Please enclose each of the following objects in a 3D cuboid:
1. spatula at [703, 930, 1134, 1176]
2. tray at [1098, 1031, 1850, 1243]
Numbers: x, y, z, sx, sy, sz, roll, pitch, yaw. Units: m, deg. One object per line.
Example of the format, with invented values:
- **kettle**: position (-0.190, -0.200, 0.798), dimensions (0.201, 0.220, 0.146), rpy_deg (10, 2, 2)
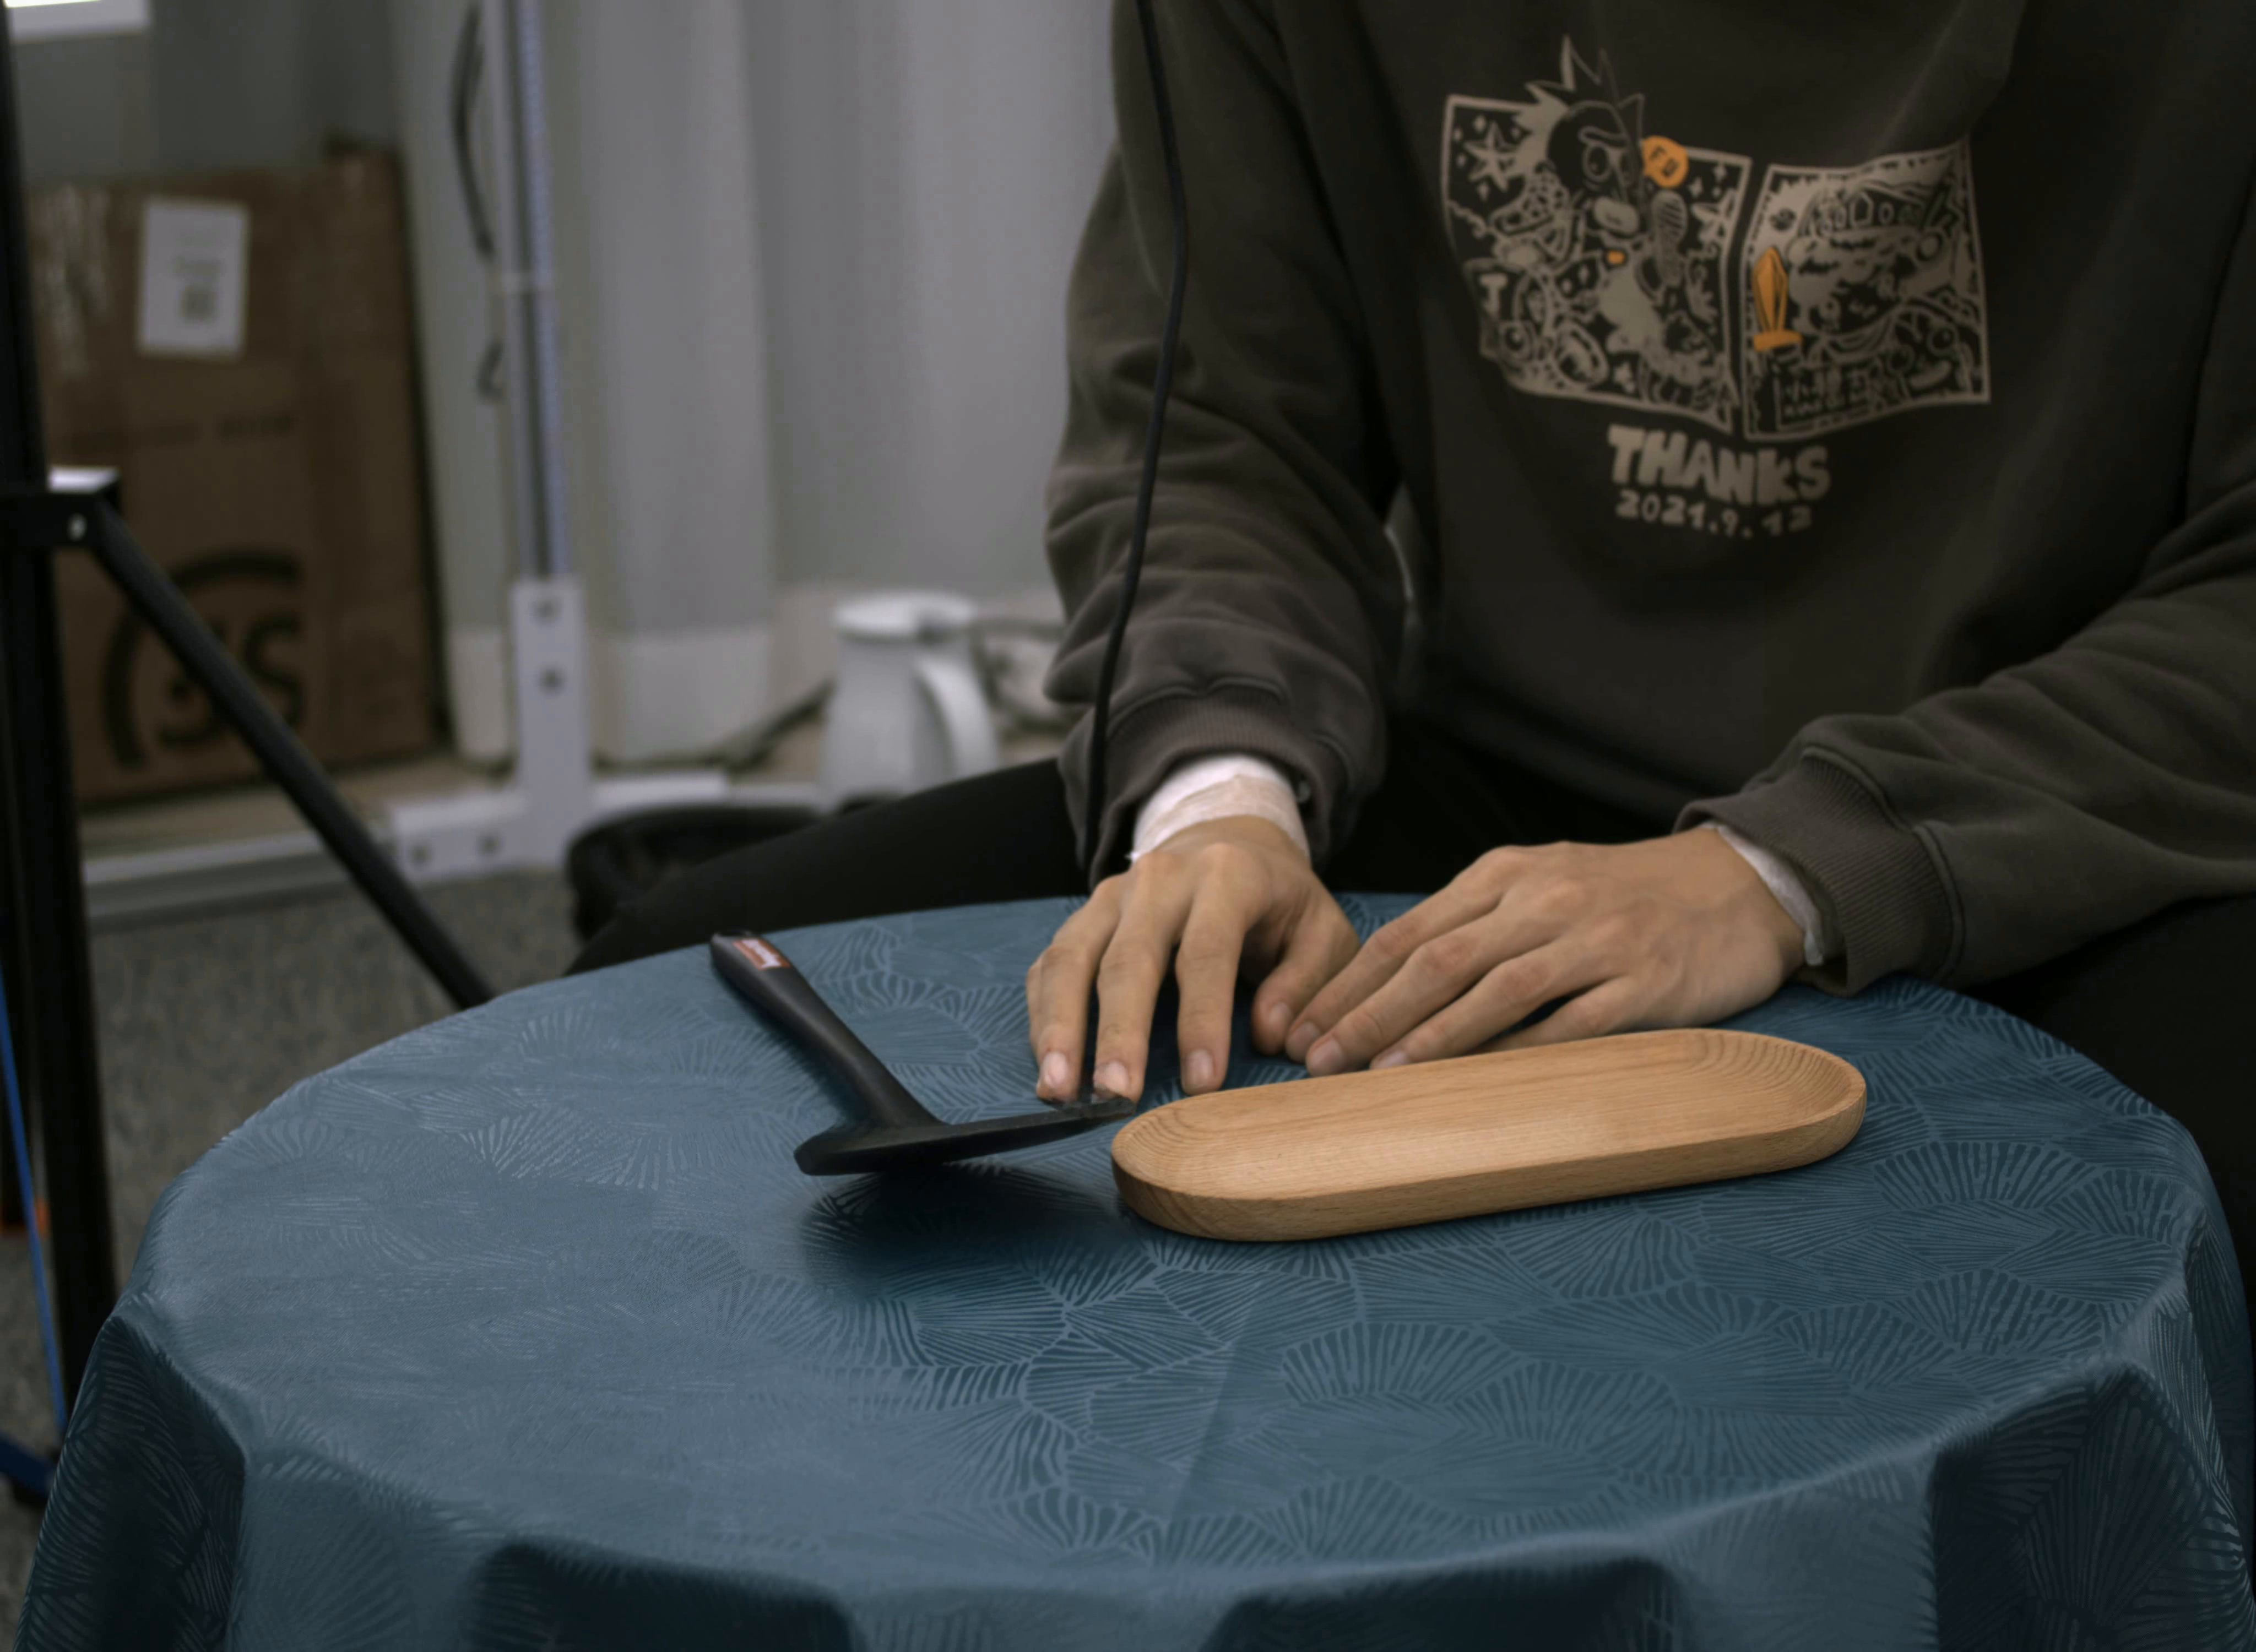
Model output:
- **spatula**: position (-0.089, 0.065, 1.663), dimensions (0.098, 0.040, 0.331), rpy_deg (-6, 16, -16)
- **tray**: position (0.104, 0.092, 1.571), dimensions (0.227, 0.020, 0.103), rpy_deg (-8, 16, -14)
